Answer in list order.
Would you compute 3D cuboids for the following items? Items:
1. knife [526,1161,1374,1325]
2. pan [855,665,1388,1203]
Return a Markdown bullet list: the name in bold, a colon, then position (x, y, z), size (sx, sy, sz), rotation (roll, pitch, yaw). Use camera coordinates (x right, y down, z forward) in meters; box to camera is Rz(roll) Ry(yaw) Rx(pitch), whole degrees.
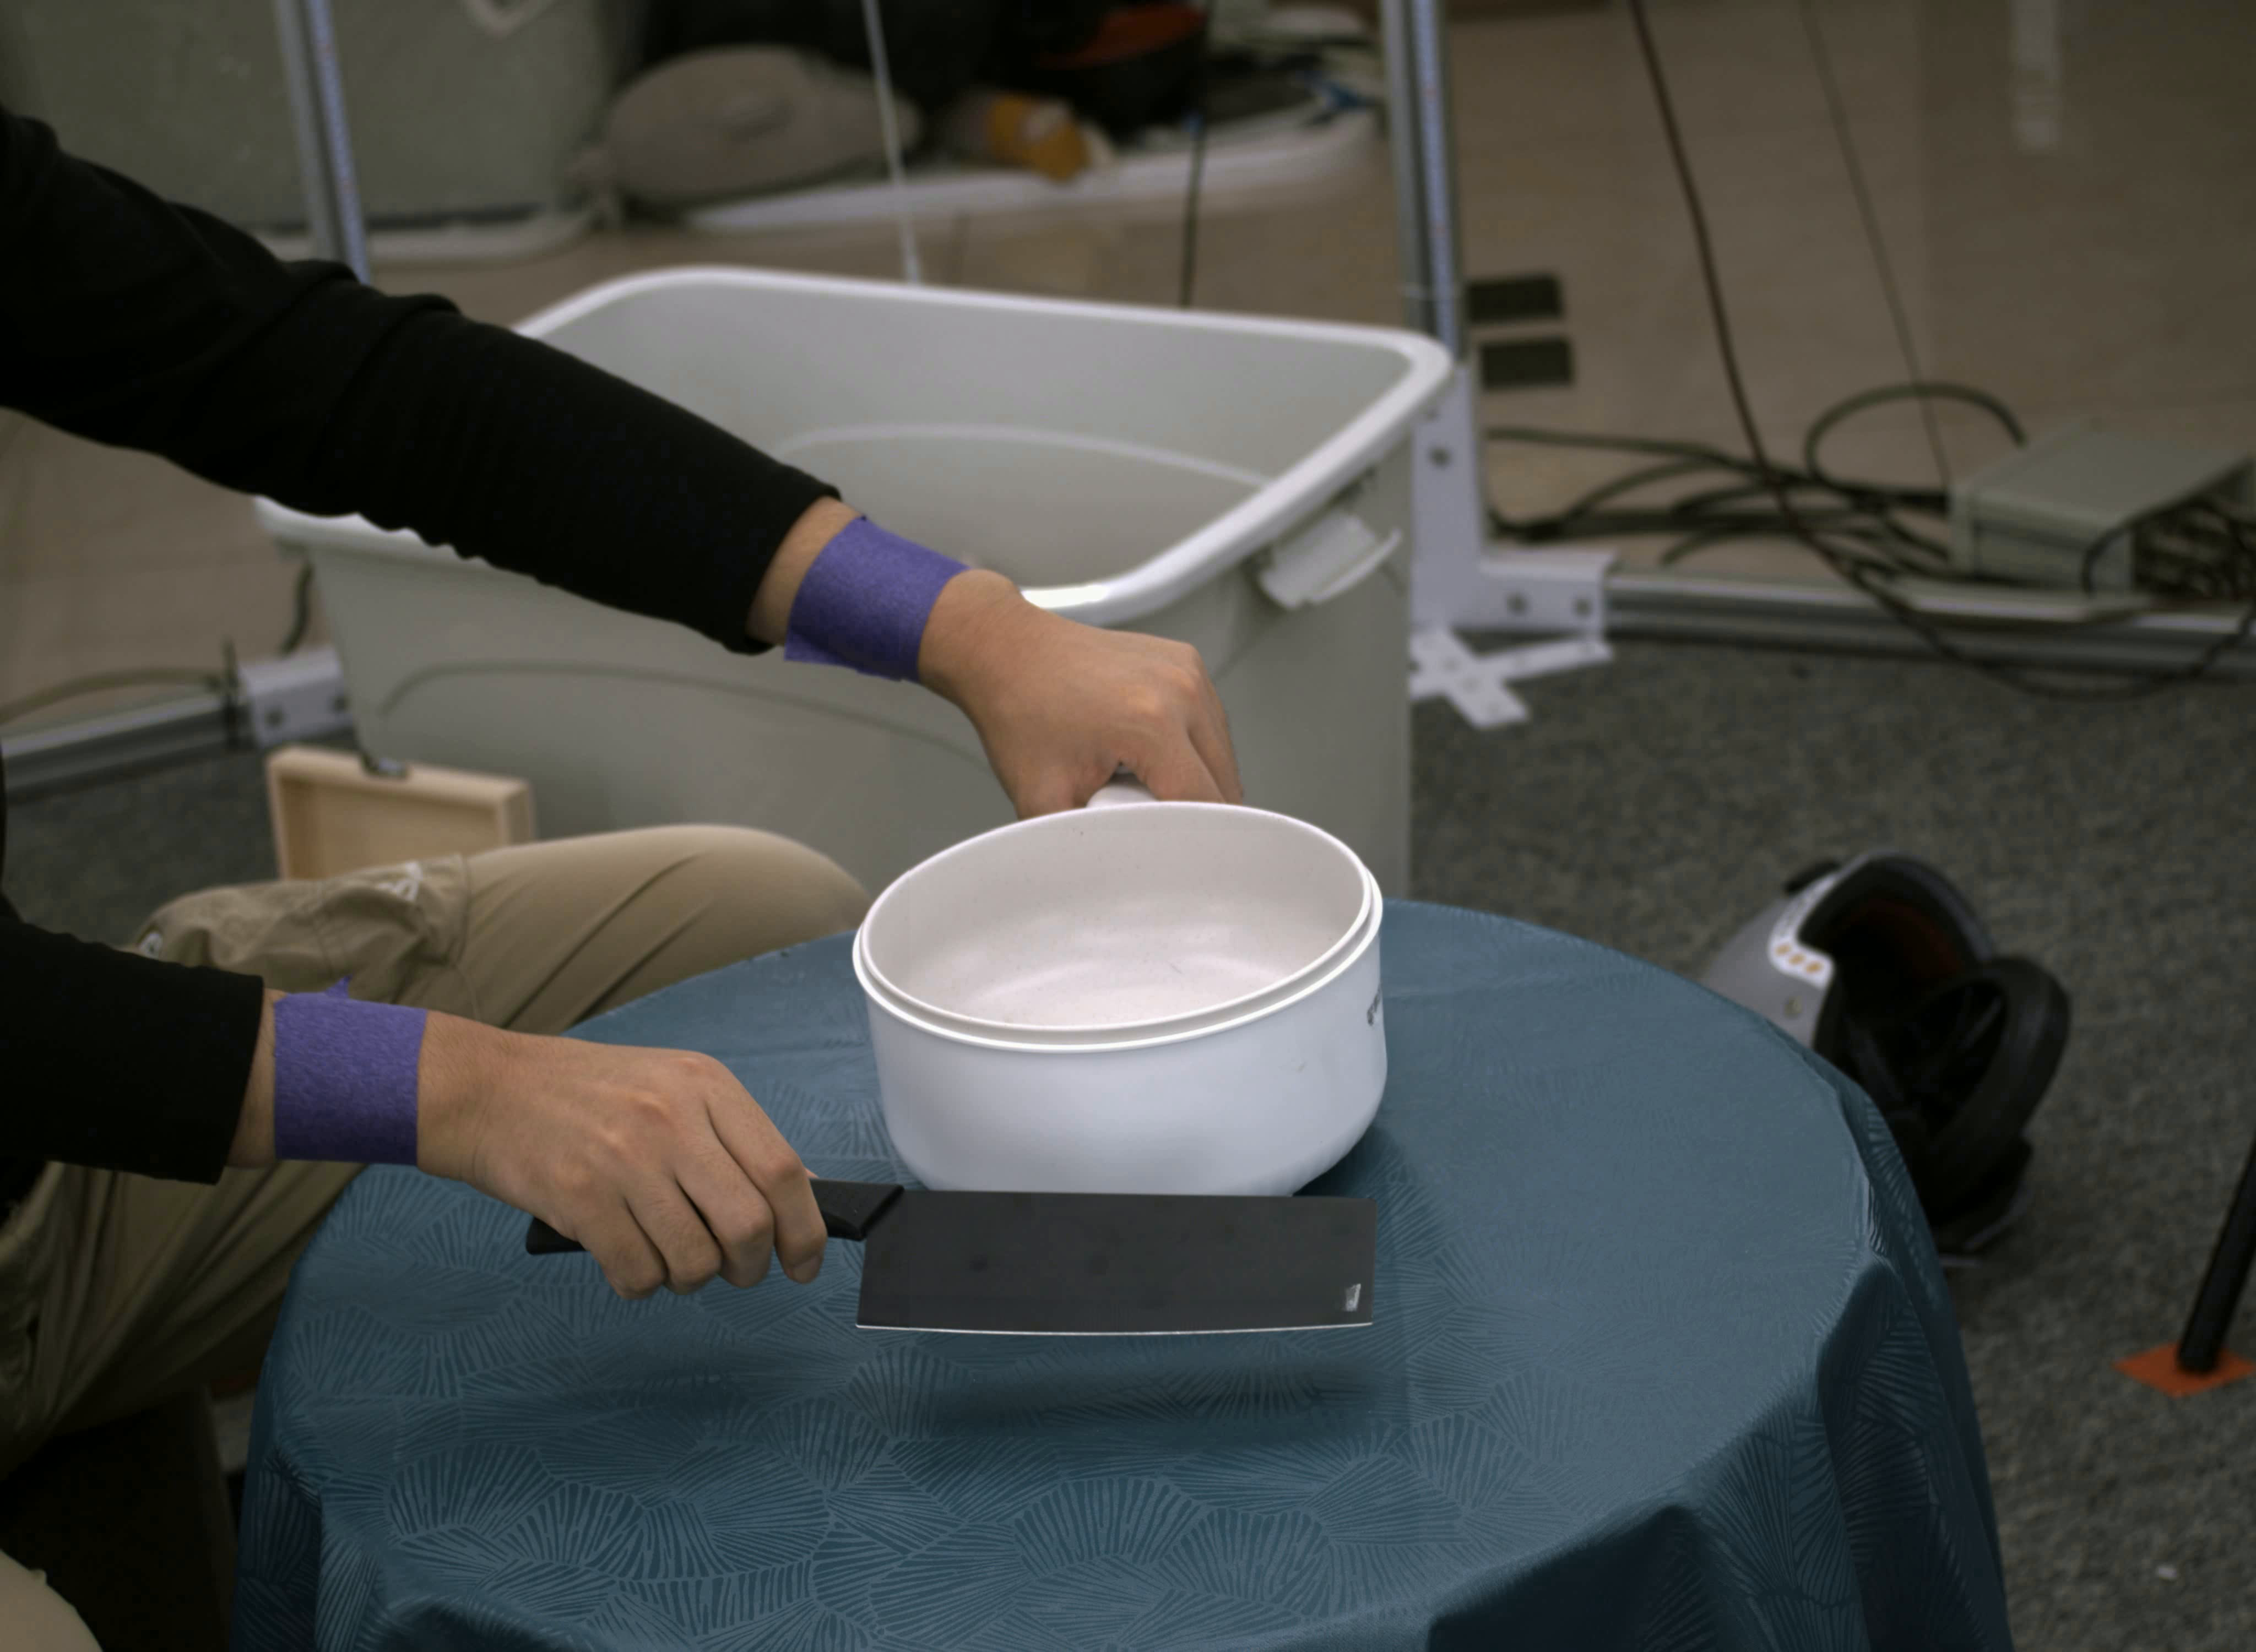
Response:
- **knife**: position (-0.063, 0.147, 1.999), size (0.301, 0.021, 0.079), rotation (4, 44, 8)
- **pan**: position (0.005, 0.047, 2.231), size (0.201, 0.103, 0.350), rotation (-5, 24, 6)
